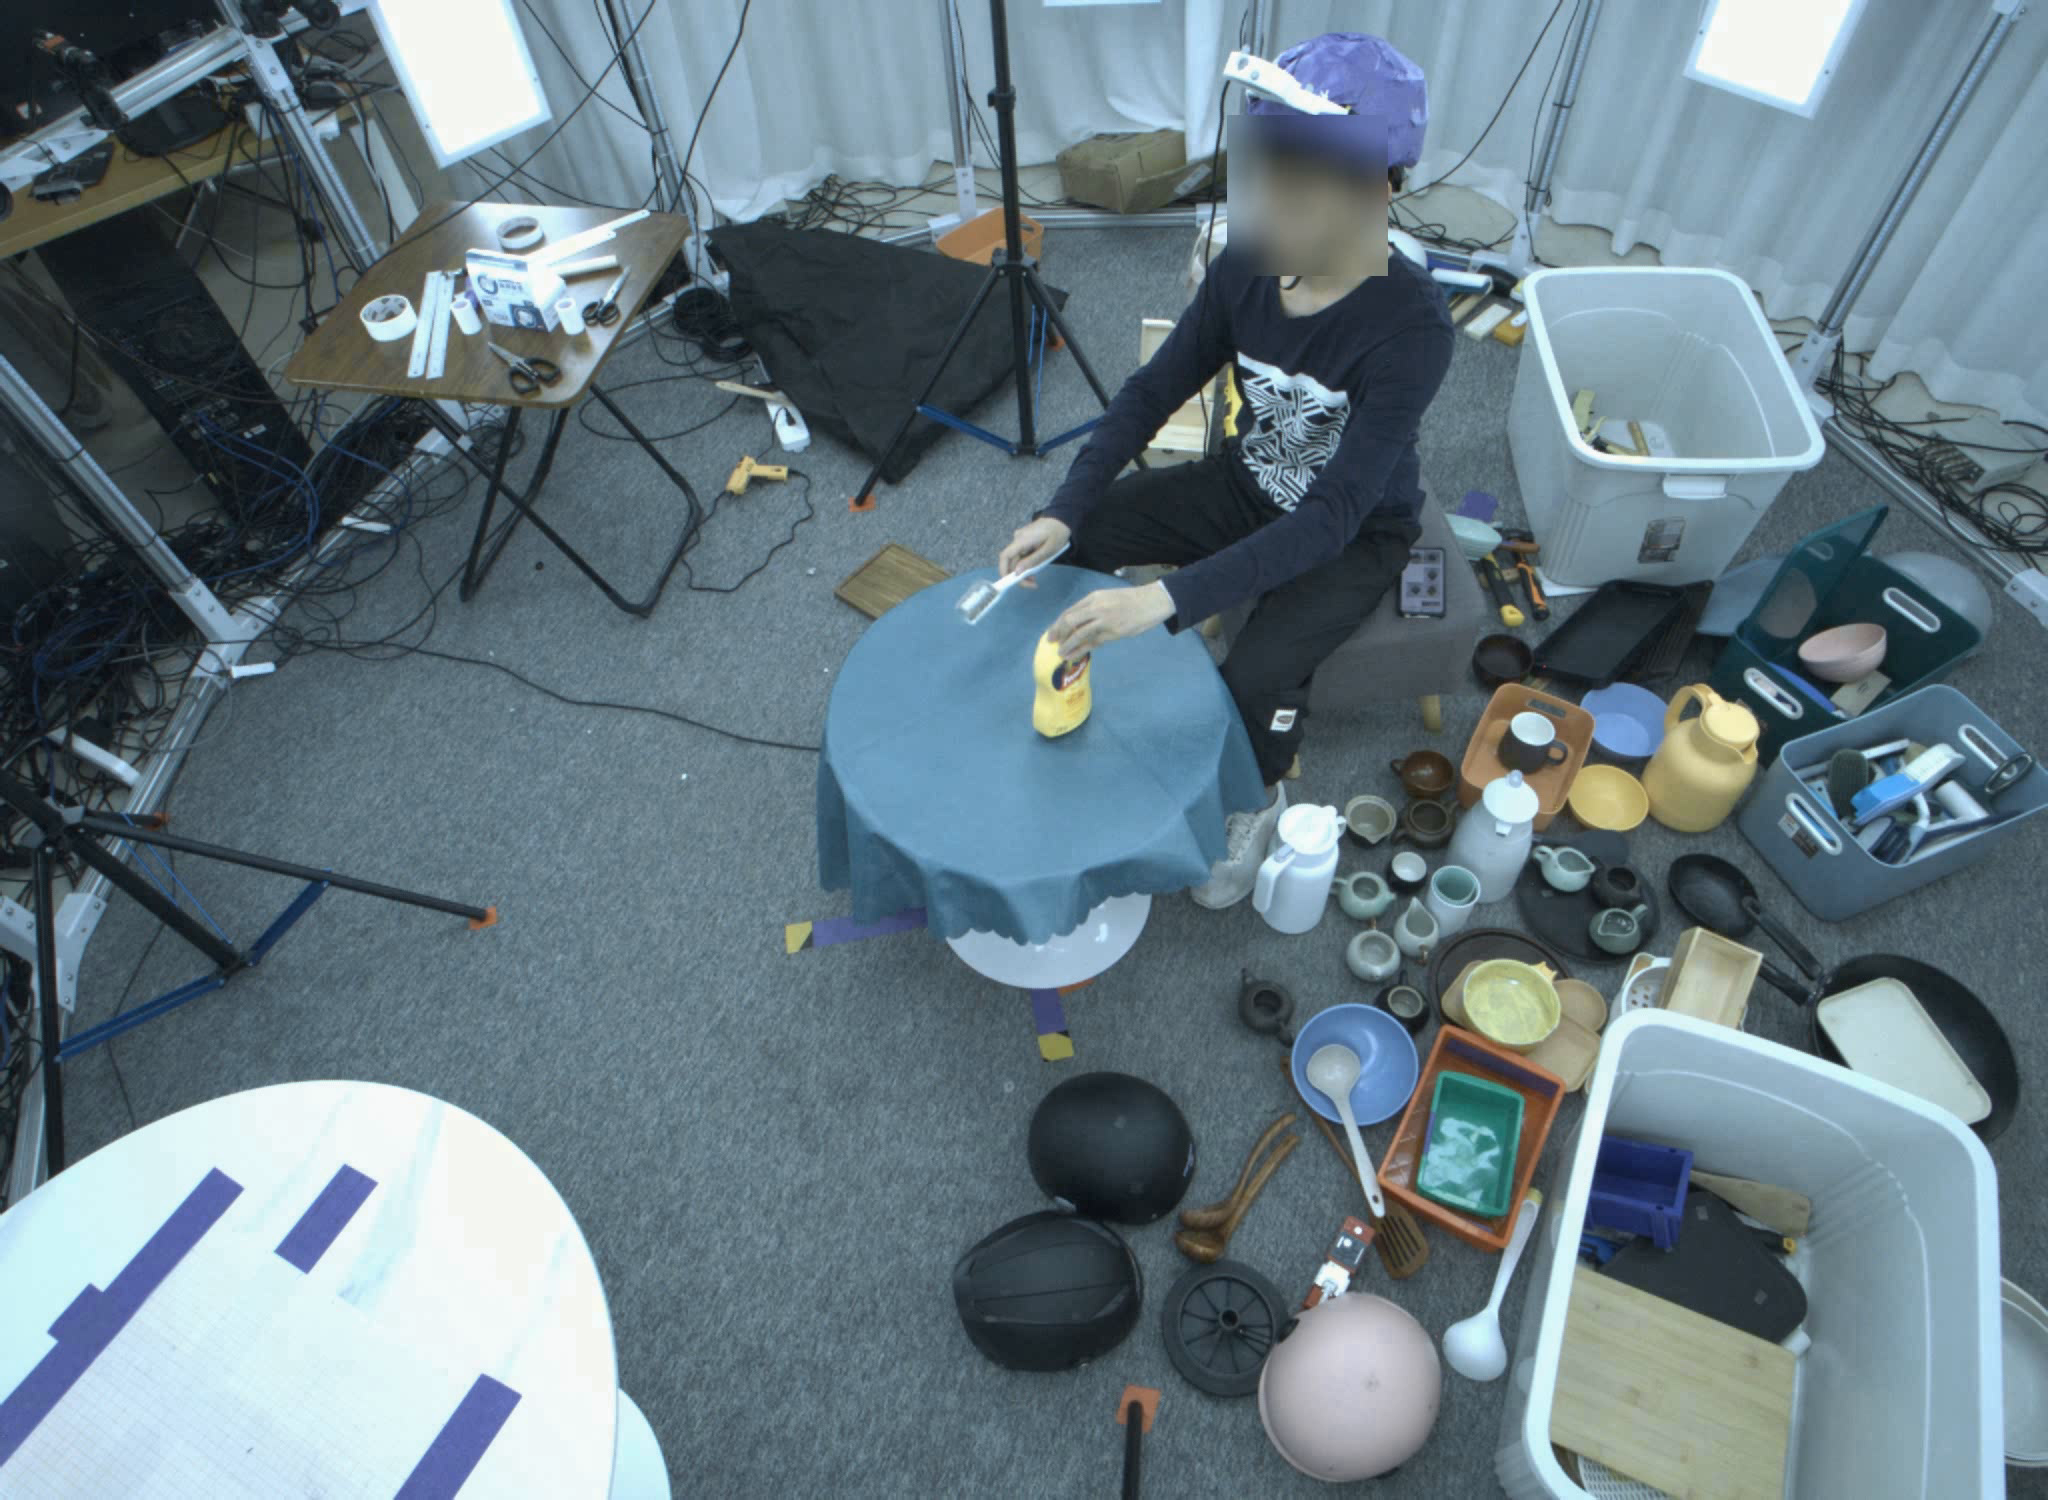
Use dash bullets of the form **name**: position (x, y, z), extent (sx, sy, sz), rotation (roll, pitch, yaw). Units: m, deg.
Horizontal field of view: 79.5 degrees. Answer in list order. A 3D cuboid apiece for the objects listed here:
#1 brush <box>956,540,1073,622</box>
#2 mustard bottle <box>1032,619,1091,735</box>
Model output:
- **brush**: position (-0.009, -0.268, 1.855), extent (0.246, 0.050, 0.034), rotation (-37, 79, -28)
- **mustard bottle**: position (0.055, -0.109, 1.741), extent (0.058, 0.173, 0.099), rotation (30, 50, 26)
